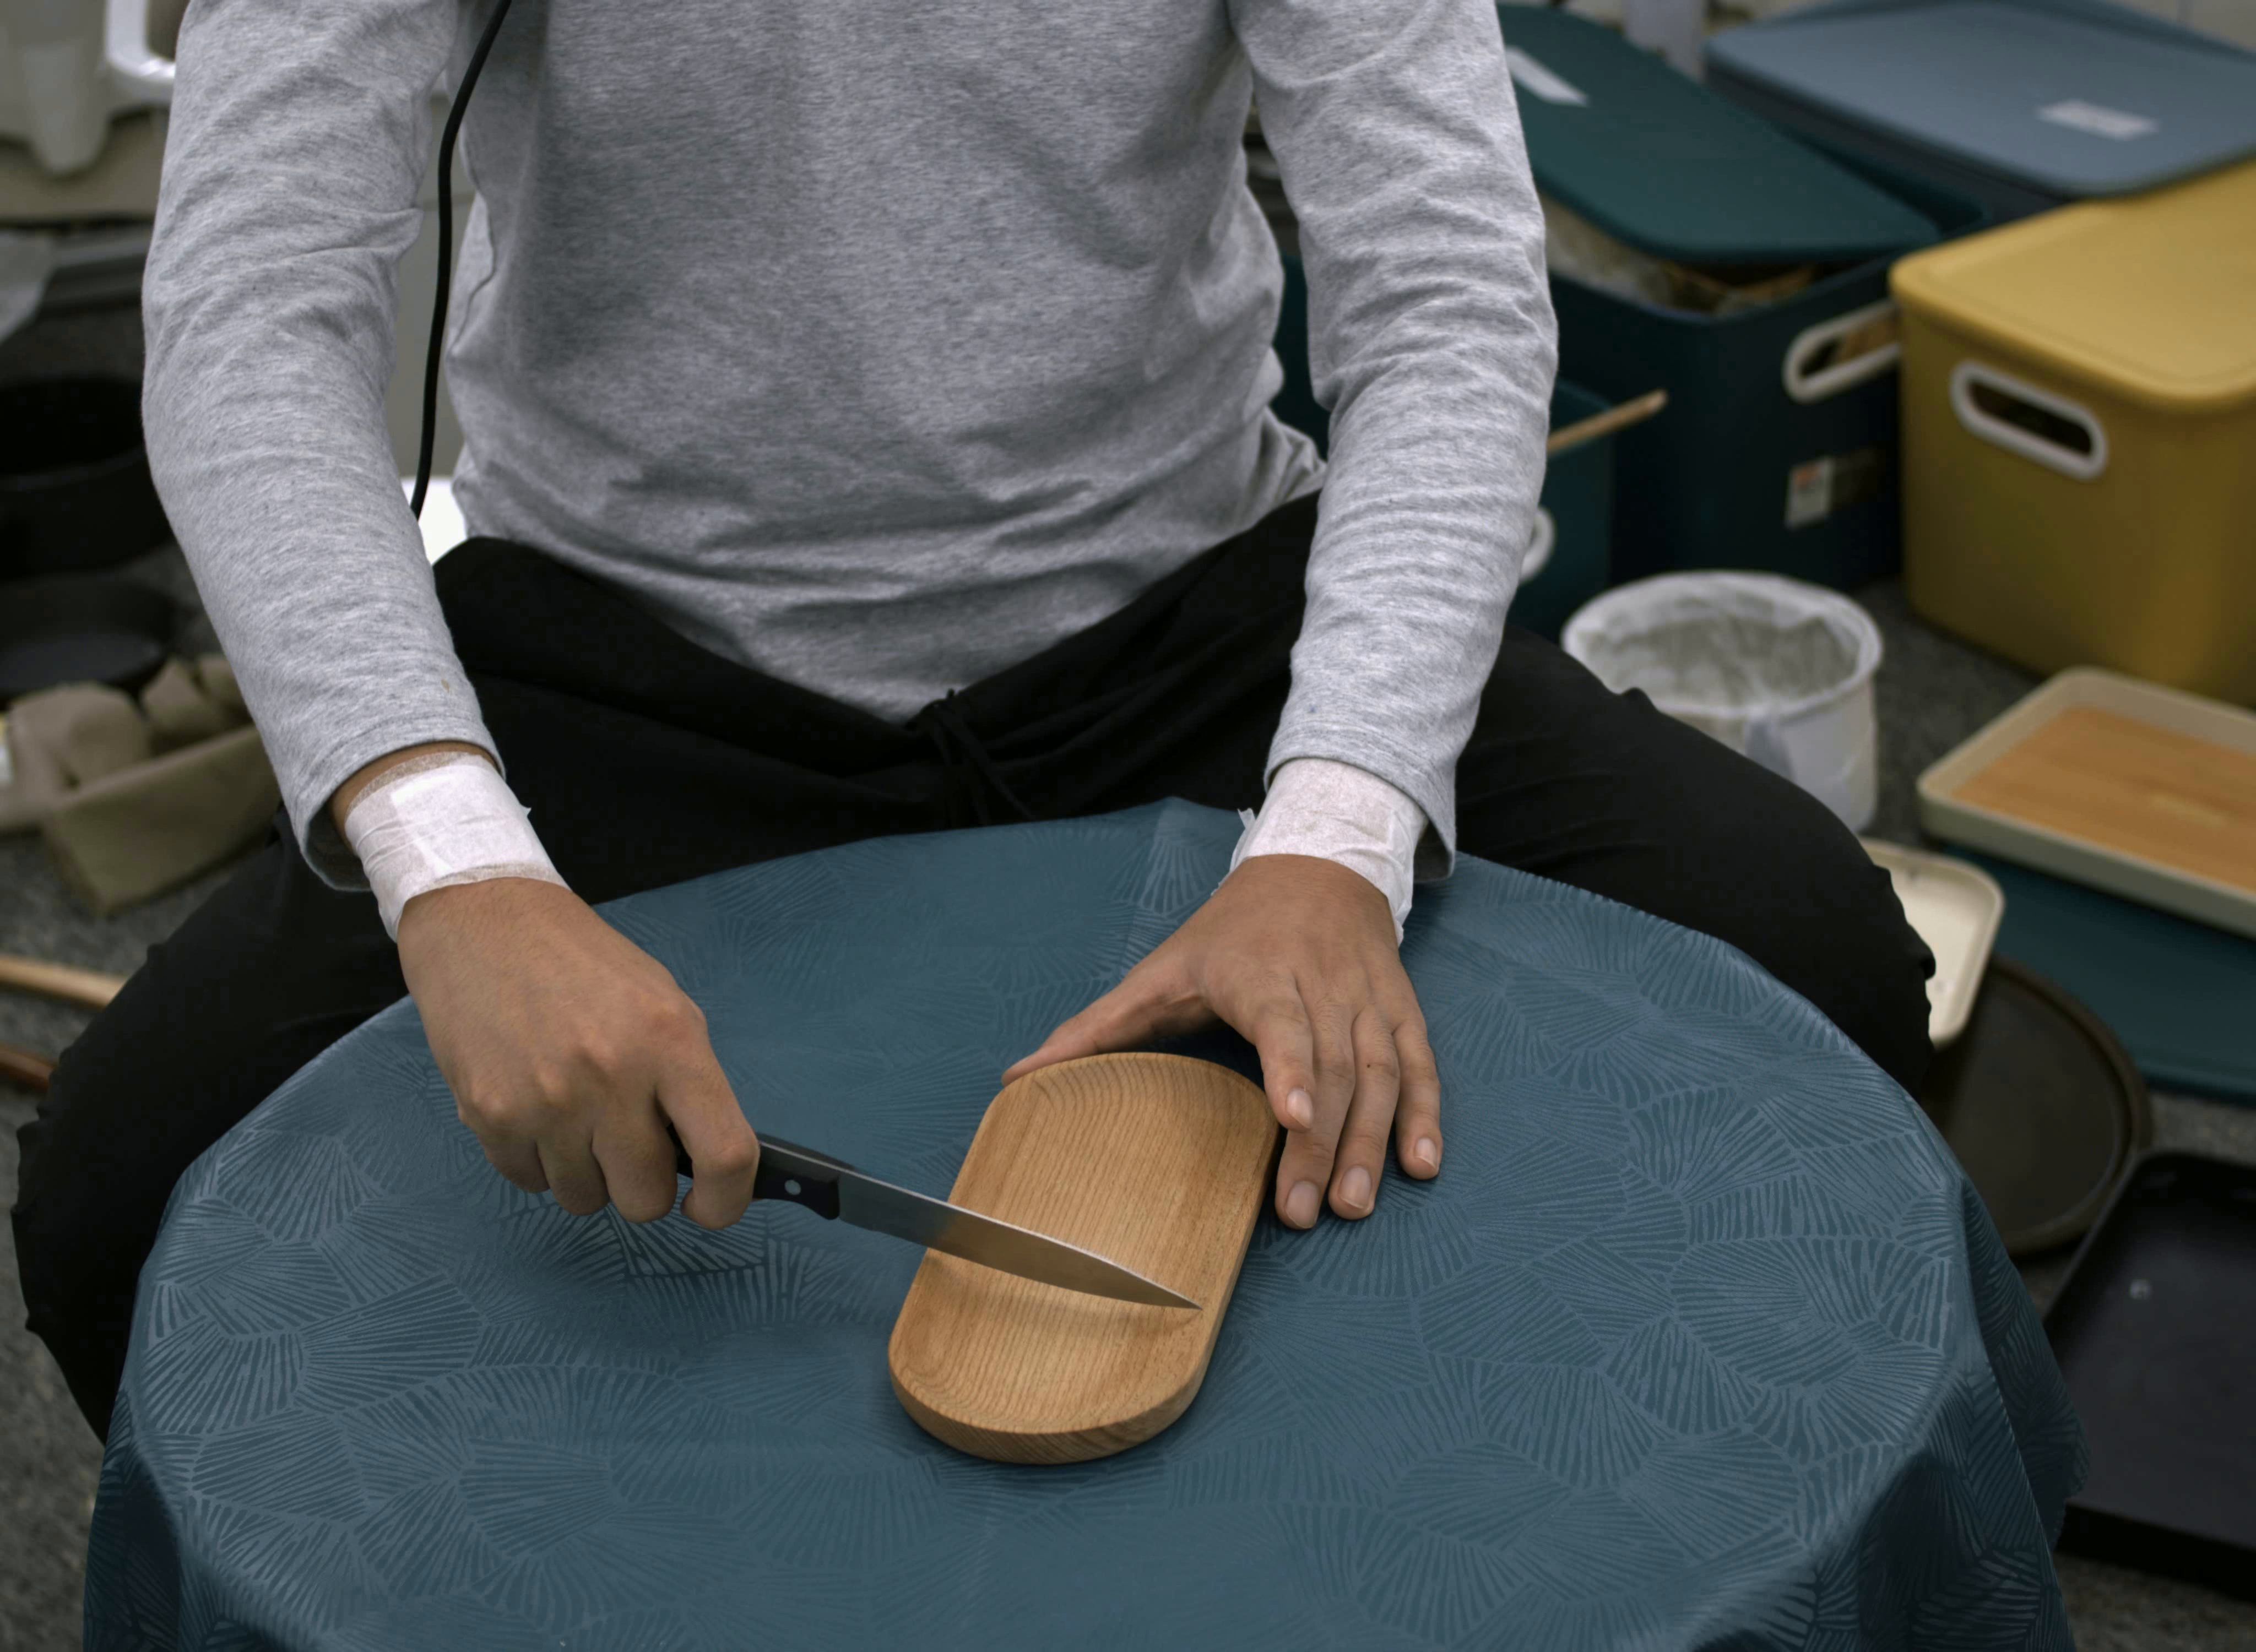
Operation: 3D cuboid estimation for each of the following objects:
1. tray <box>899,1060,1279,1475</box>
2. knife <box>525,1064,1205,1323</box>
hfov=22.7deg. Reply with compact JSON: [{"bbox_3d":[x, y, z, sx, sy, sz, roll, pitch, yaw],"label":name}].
[{"bbox_3d":[-0.010,0.140,1.811,0.101,0.020,0.235,1,29,10],"label":"tray"},{"bbox_3d":[-0.085,0.119,1.797,0.237,0.024,0.016,18,39,14],"label":"knife"}]
